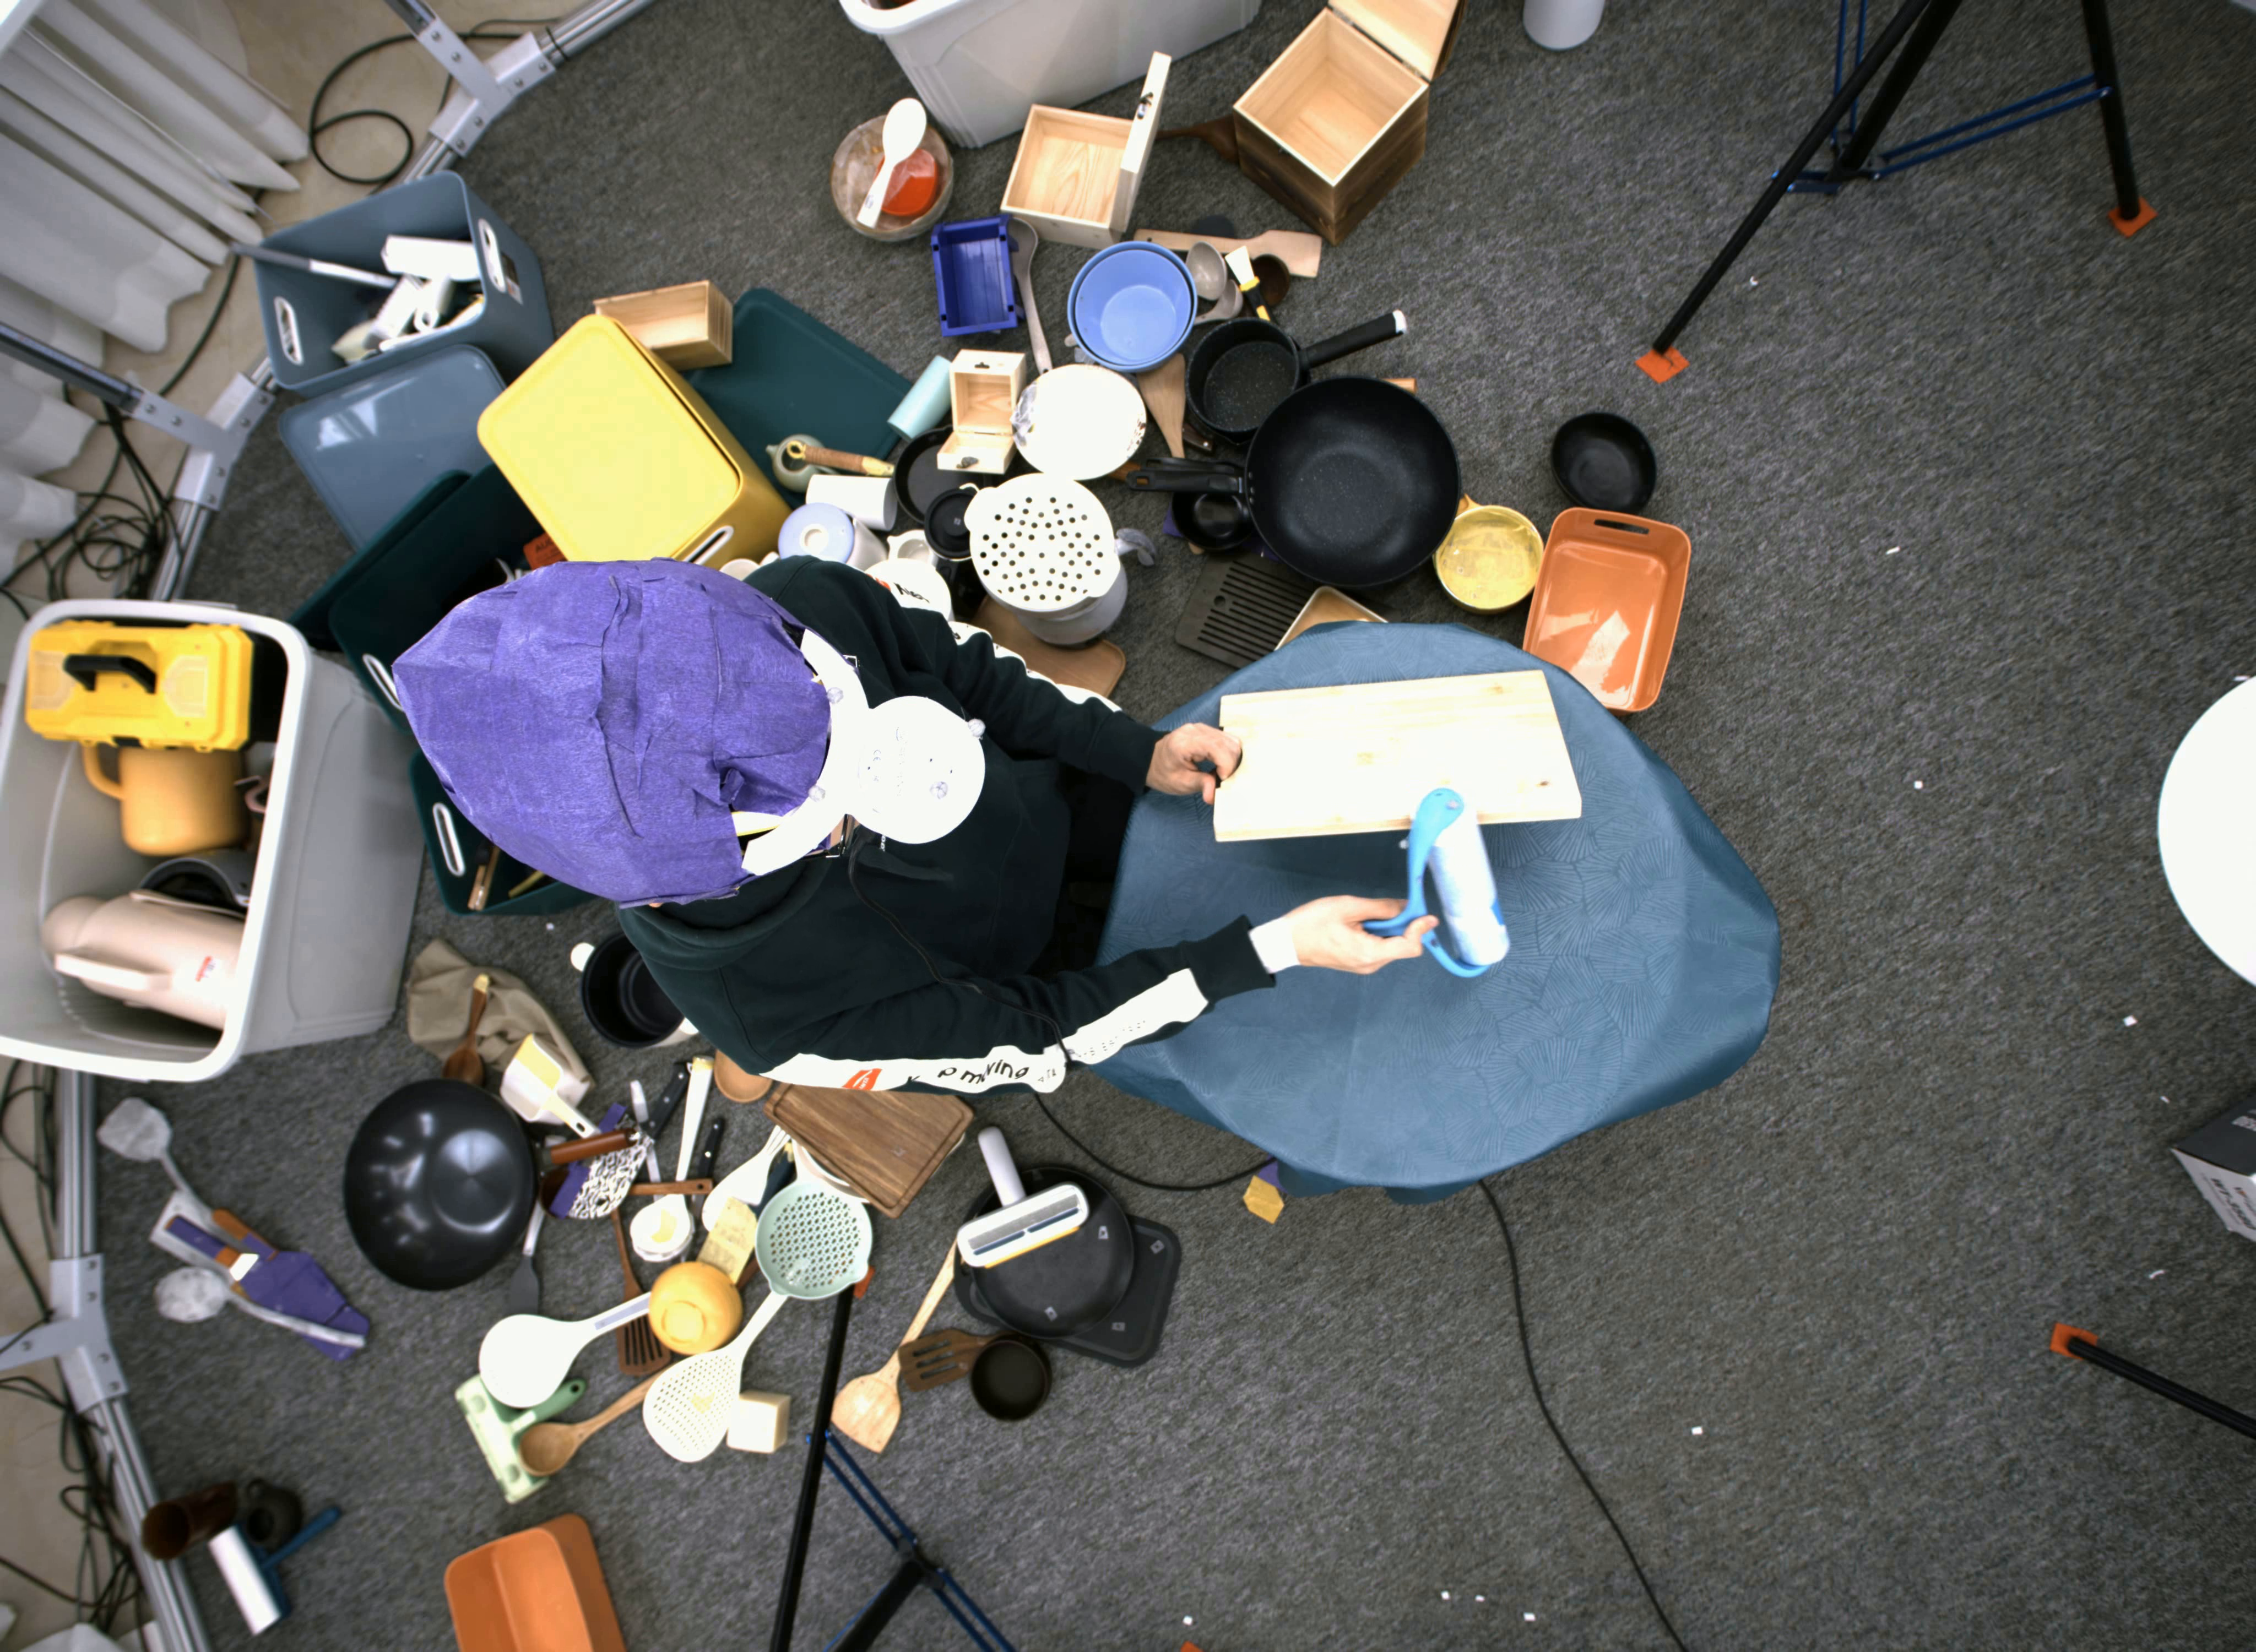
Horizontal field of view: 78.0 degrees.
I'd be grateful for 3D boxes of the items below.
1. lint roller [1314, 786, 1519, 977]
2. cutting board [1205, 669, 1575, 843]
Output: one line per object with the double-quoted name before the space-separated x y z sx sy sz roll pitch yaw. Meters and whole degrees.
"lint roller" 0.267 0.072 1.297 0.181 0.233 0.066 -23 42 10
"cutting board" 0.254 -0.075 1.372 0.350 0.244 0.024 -5 128 9
